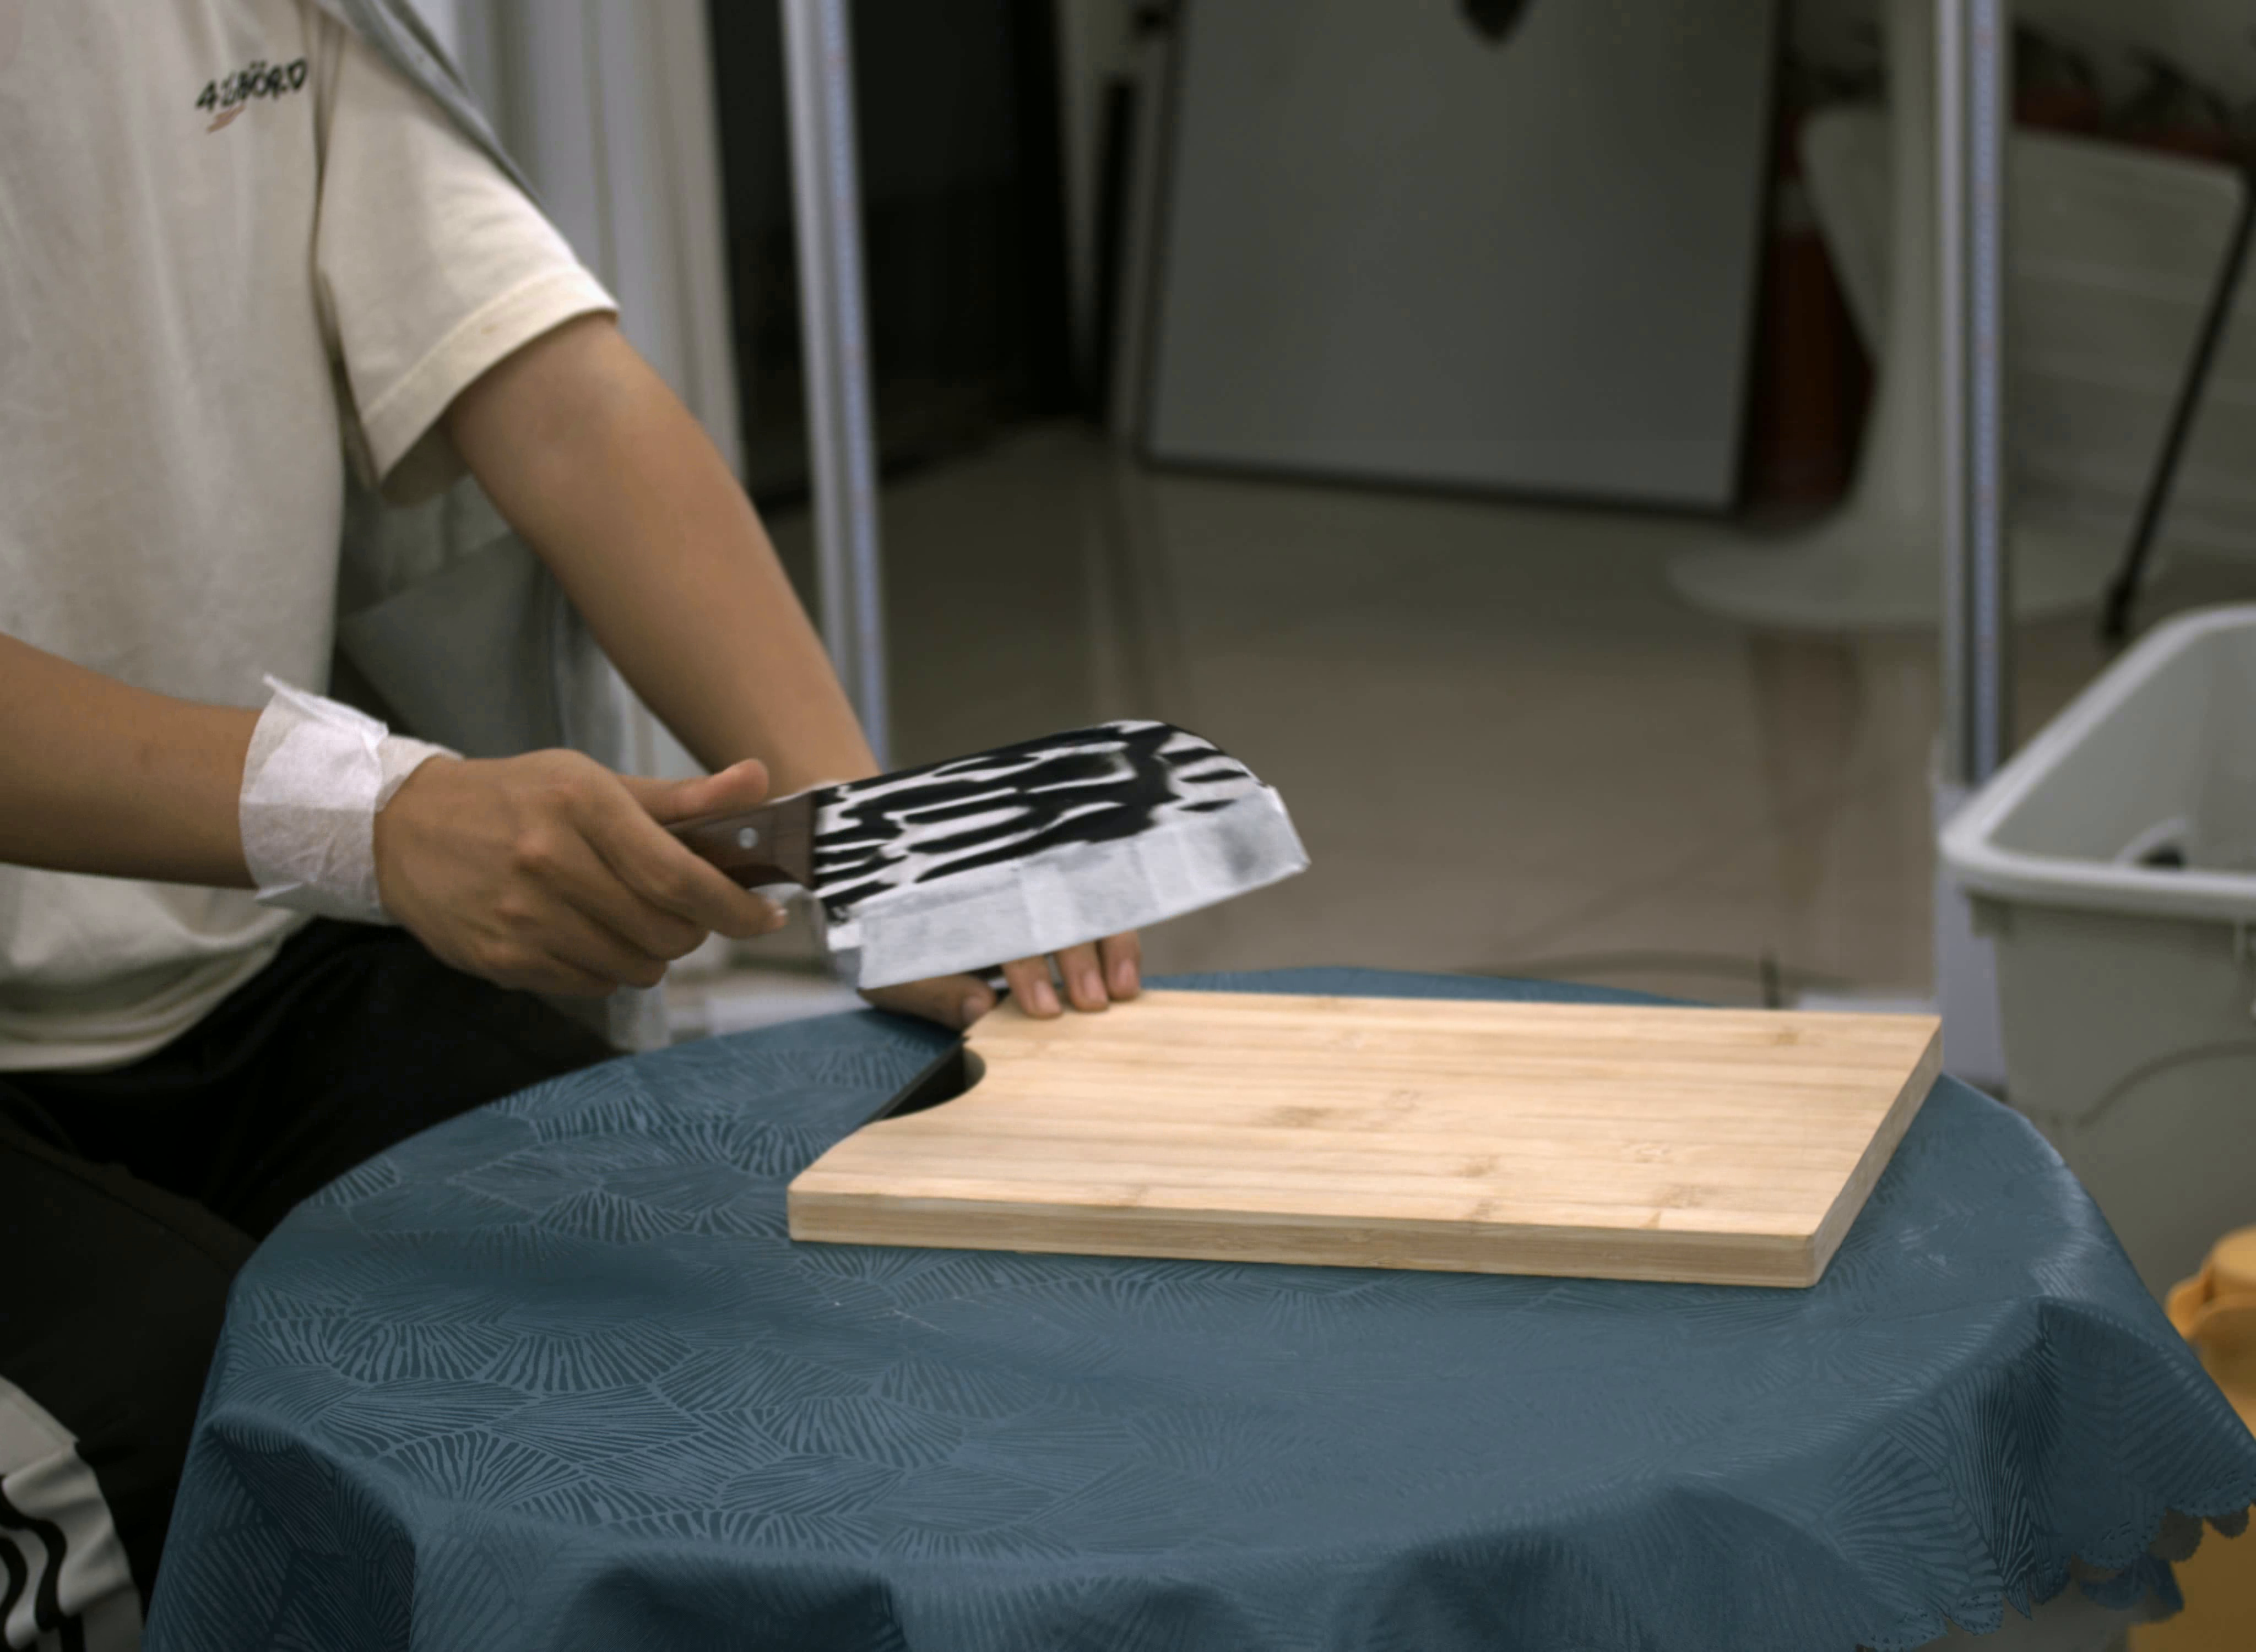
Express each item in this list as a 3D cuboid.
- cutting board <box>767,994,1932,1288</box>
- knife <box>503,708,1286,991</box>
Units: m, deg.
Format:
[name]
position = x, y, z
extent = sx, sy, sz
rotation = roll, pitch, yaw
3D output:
[cutting board]
position = 0.080, 0.102, 1.798
extent = 0.348, 0.024, 0.248
rotation = 0, 14, 18
[knife]
position = -0.078, 0.014, 1.698
extent = 0.301, 0.069, 0.023
rotation = -13, -14, 33
